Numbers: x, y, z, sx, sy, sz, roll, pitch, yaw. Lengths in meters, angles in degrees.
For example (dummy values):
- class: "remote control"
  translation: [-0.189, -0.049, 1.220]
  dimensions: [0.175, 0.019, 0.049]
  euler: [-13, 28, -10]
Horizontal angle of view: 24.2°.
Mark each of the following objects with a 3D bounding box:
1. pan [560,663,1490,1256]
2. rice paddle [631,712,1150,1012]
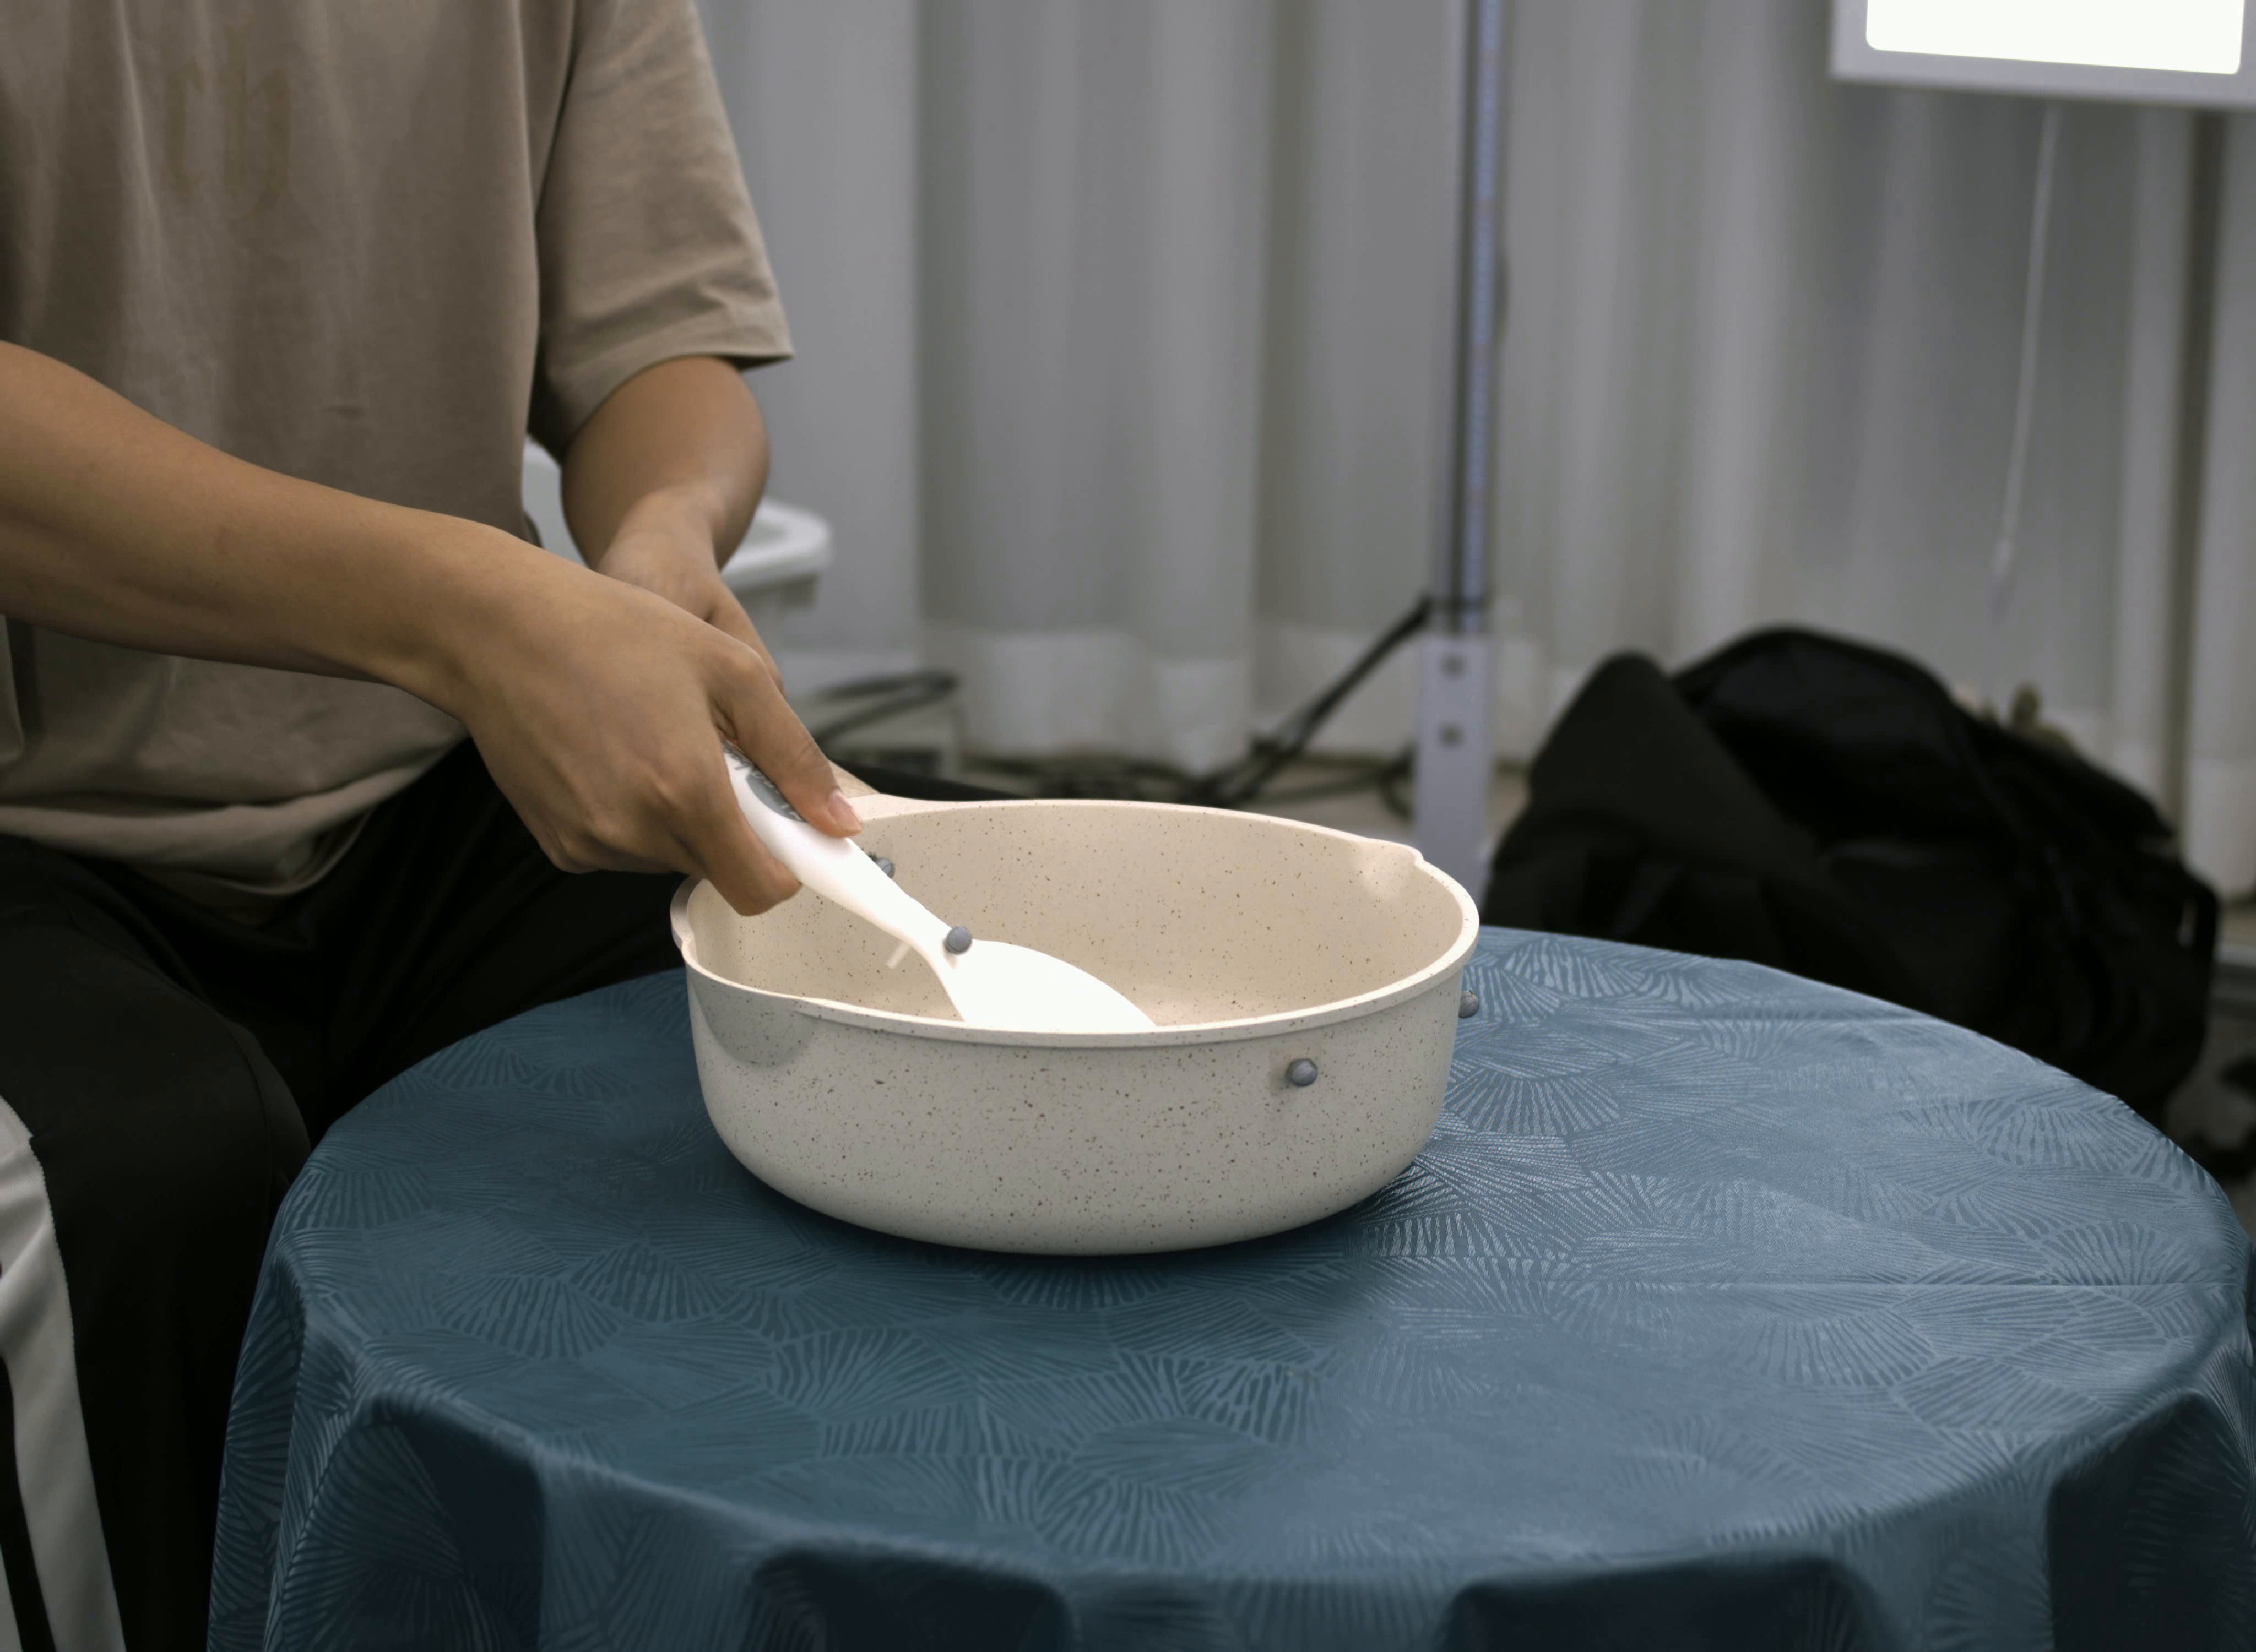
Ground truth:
- class: "pan"
  translation: [-0.064, 0.037, 1.716]
  dimensions: [0.264, 0.103, 0.429]
  euler: [-13, 20, -33]
- class: "rice paddle"
  translation: [-0.063, 0.033, 1.651]
  dimensions: [0.205, 0.029, 0.068]
  euler: [35, 36, -7]
